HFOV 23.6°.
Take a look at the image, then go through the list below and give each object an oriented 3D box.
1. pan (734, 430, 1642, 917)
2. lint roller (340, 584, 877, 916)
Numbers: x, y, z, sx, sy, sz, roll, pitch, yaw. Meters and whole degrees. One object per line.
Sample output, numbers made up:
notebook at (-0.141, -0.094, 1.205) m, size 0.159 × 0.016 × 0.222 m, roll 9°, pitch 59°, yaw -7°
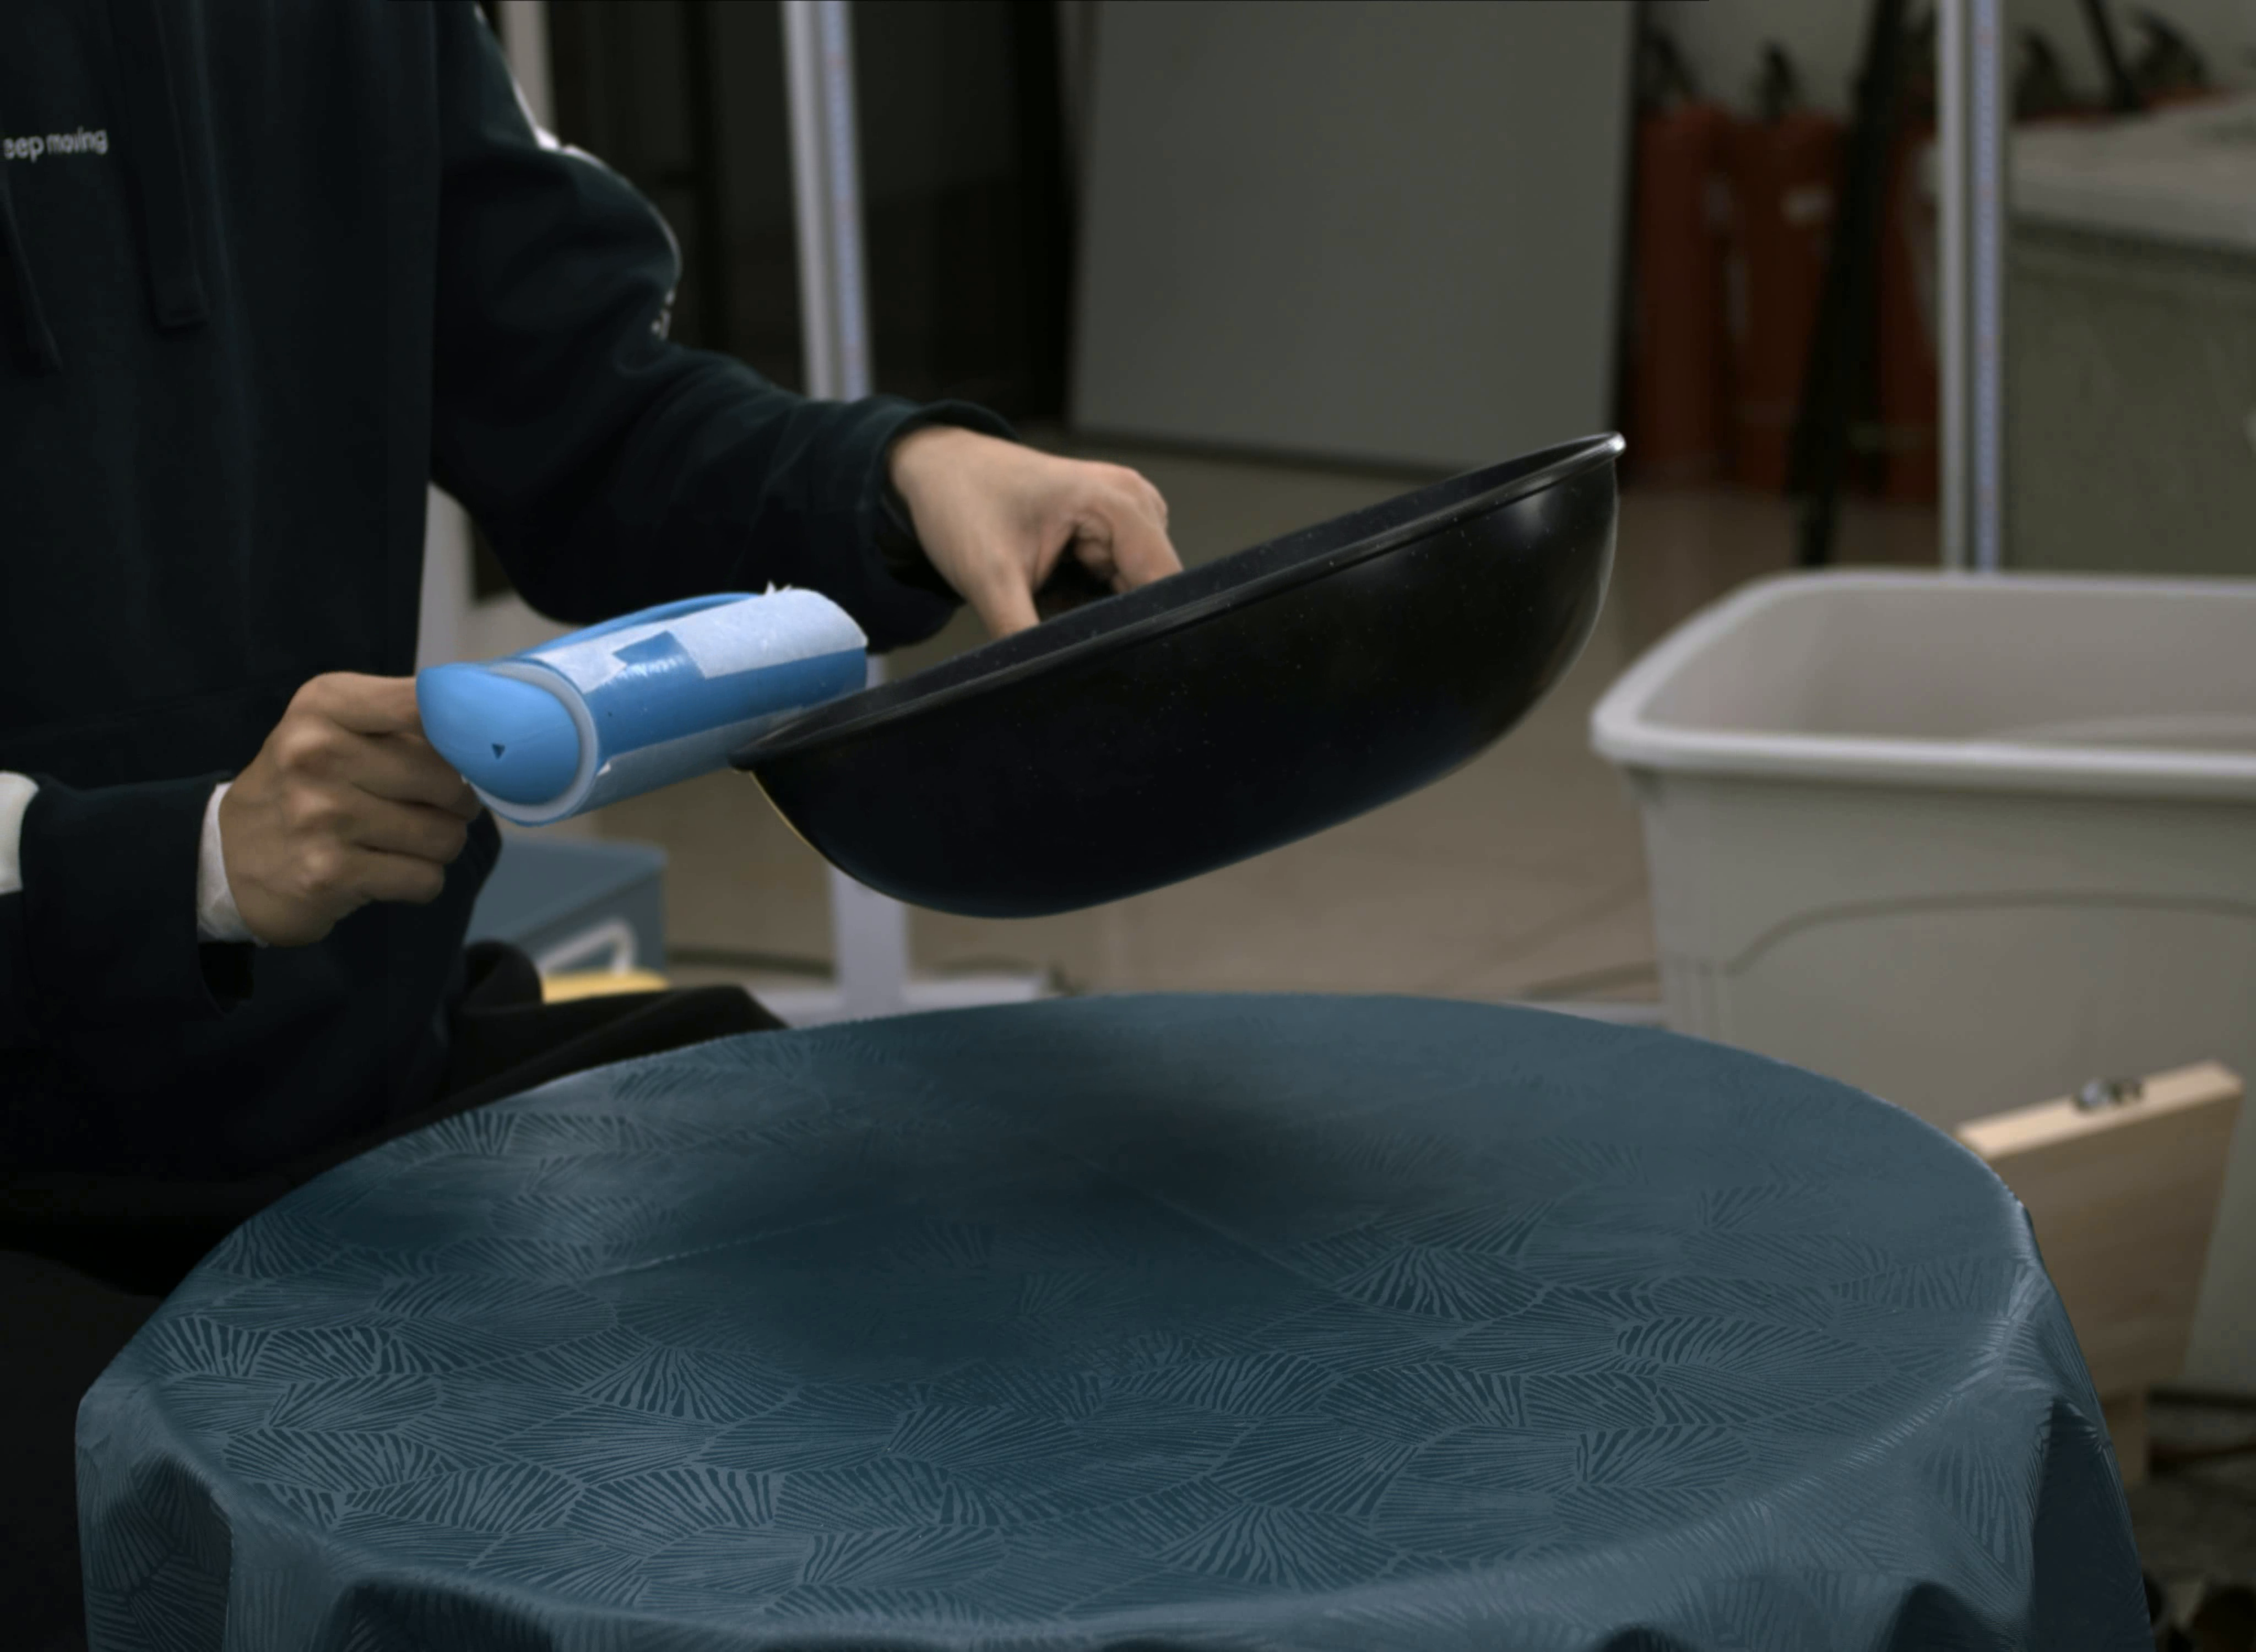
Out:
pan at (0.012, -0.048, 1.816) m, size 0.306 × 0.113 × 0.479 m, roll -19°, pitch 3°, yaw -10°
lint roller at (-0.199, -0.026, 1.813) m, size 0.180 × 0.068 × 0.226 m, roll -19°, pitch 3°, yaw 23°
